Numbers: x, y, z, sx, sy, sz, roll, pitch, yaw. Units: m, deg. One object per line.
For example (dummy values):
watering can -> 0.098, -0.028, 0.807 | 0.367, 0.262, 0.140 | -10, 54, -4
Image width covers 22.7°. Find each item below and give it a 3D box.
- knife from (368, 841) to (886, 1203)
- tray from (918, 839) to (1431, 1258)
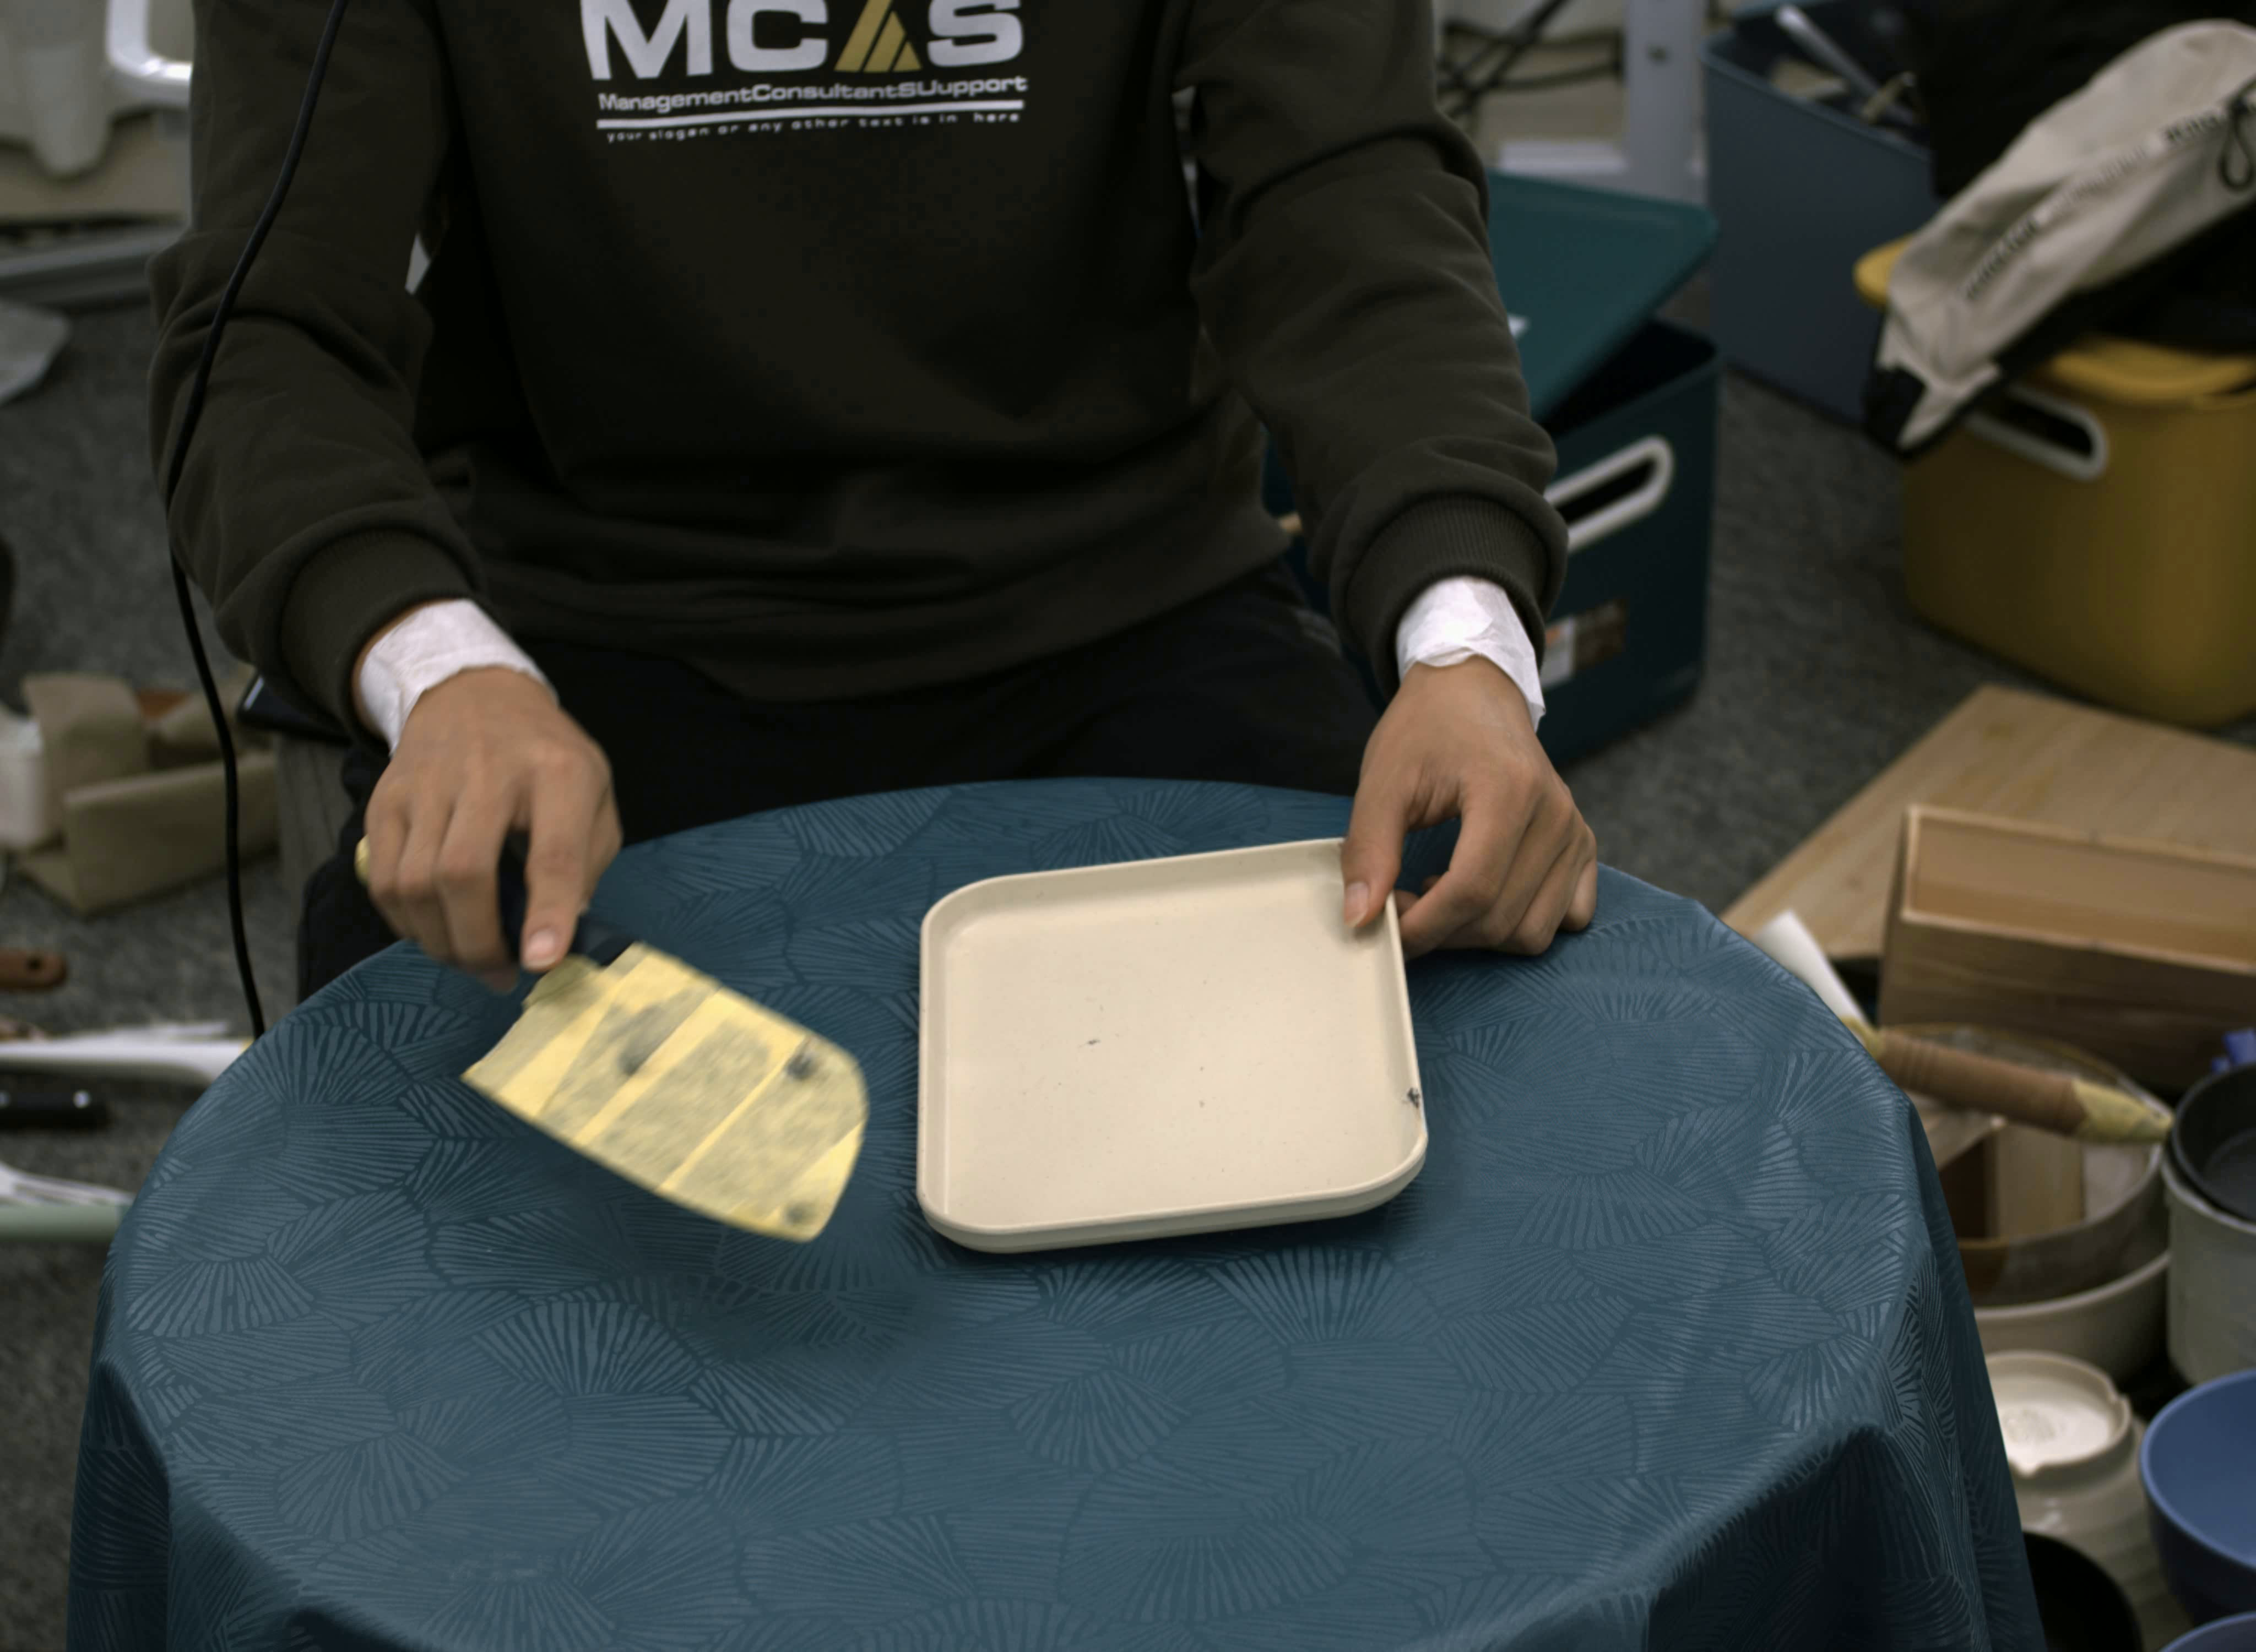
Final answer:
knife -> -0.174, 0.063, 1.850 | 0.082, 0.027, 0.289 | -43, 41, -19
tray -> 0.013, 0.075, 1.921 | 0.170, 0.017, 0.243 | -7, 28, 2
